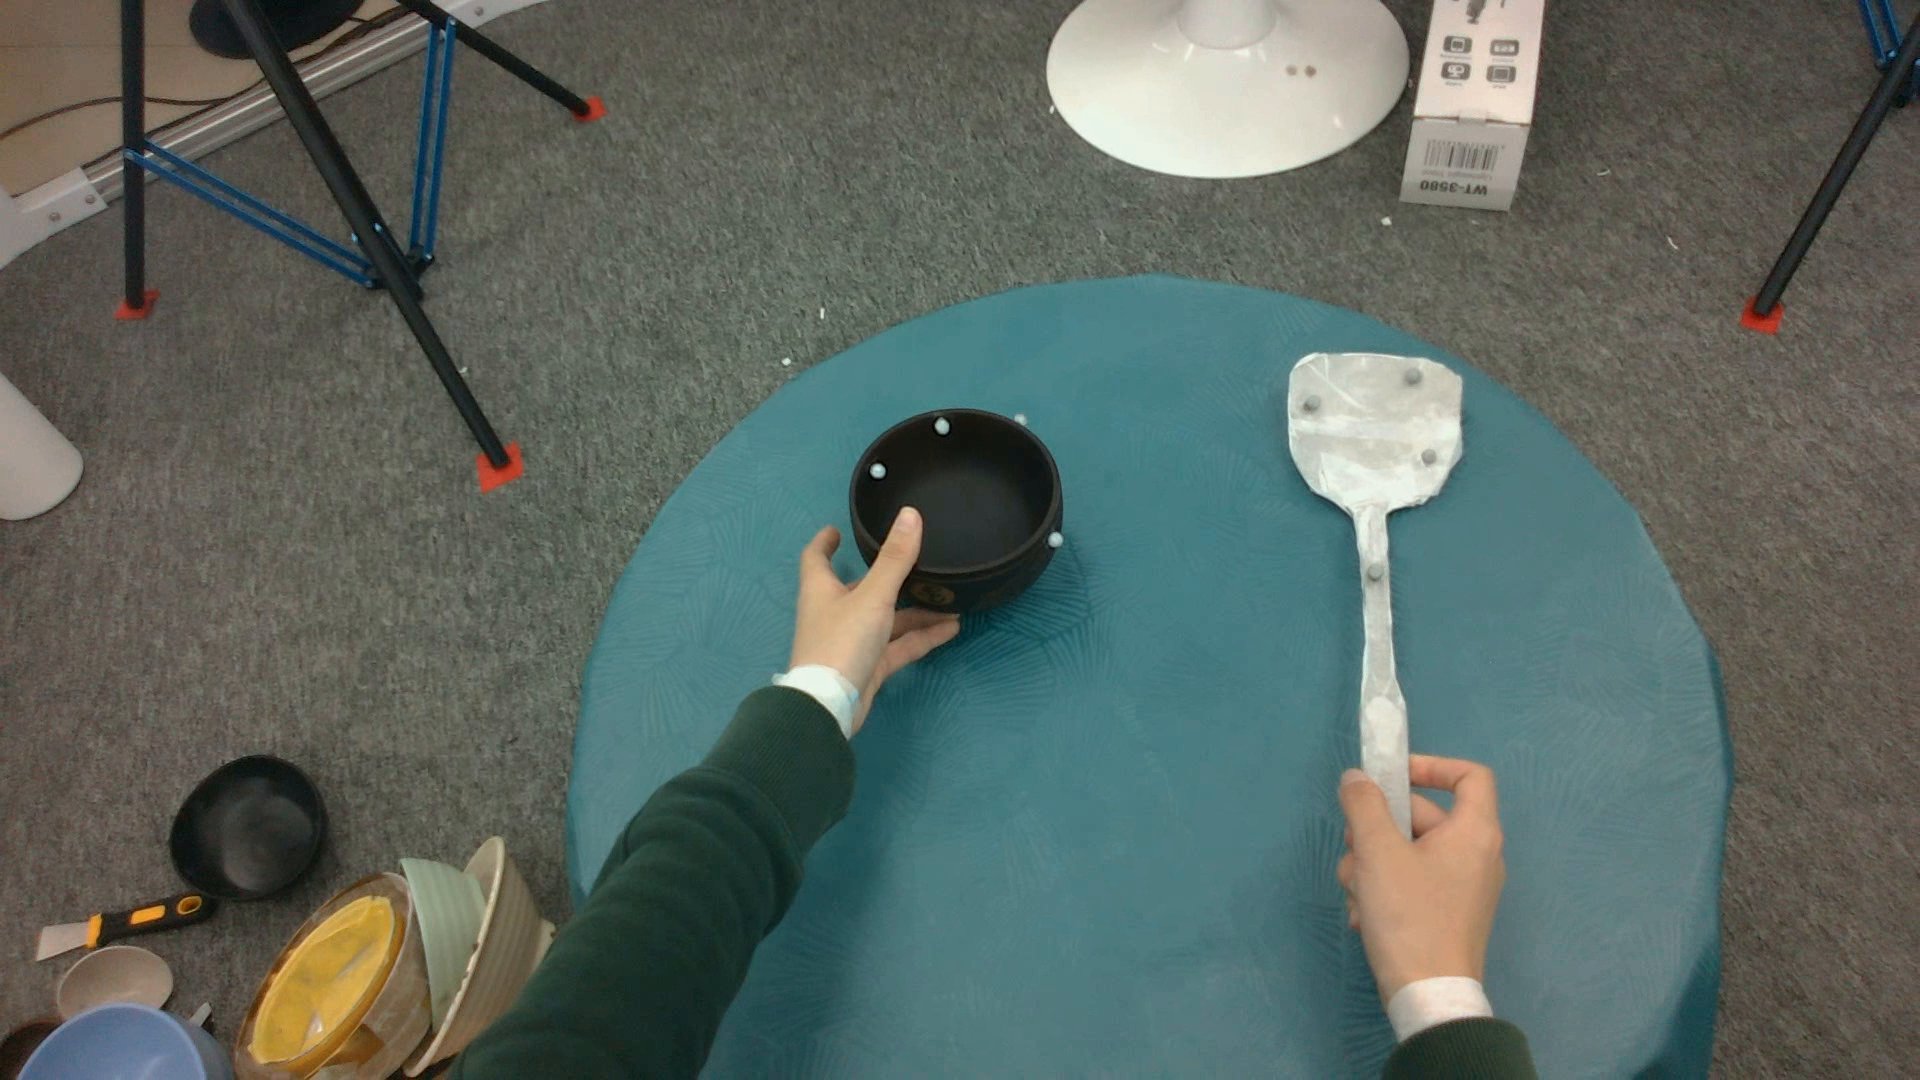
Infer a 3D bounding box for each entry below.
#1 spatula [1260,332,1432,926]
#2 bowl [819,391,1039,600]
[{"bbox_3d":[0.199,0.026,0.715,0.098,0.044,0.367,8,48,7],"label":"spatula"},{"bbox_3d":[-0.015,-0.017,0.760,0.118,0.069,0.118,-3,55,4],"label":"bowl"}]
